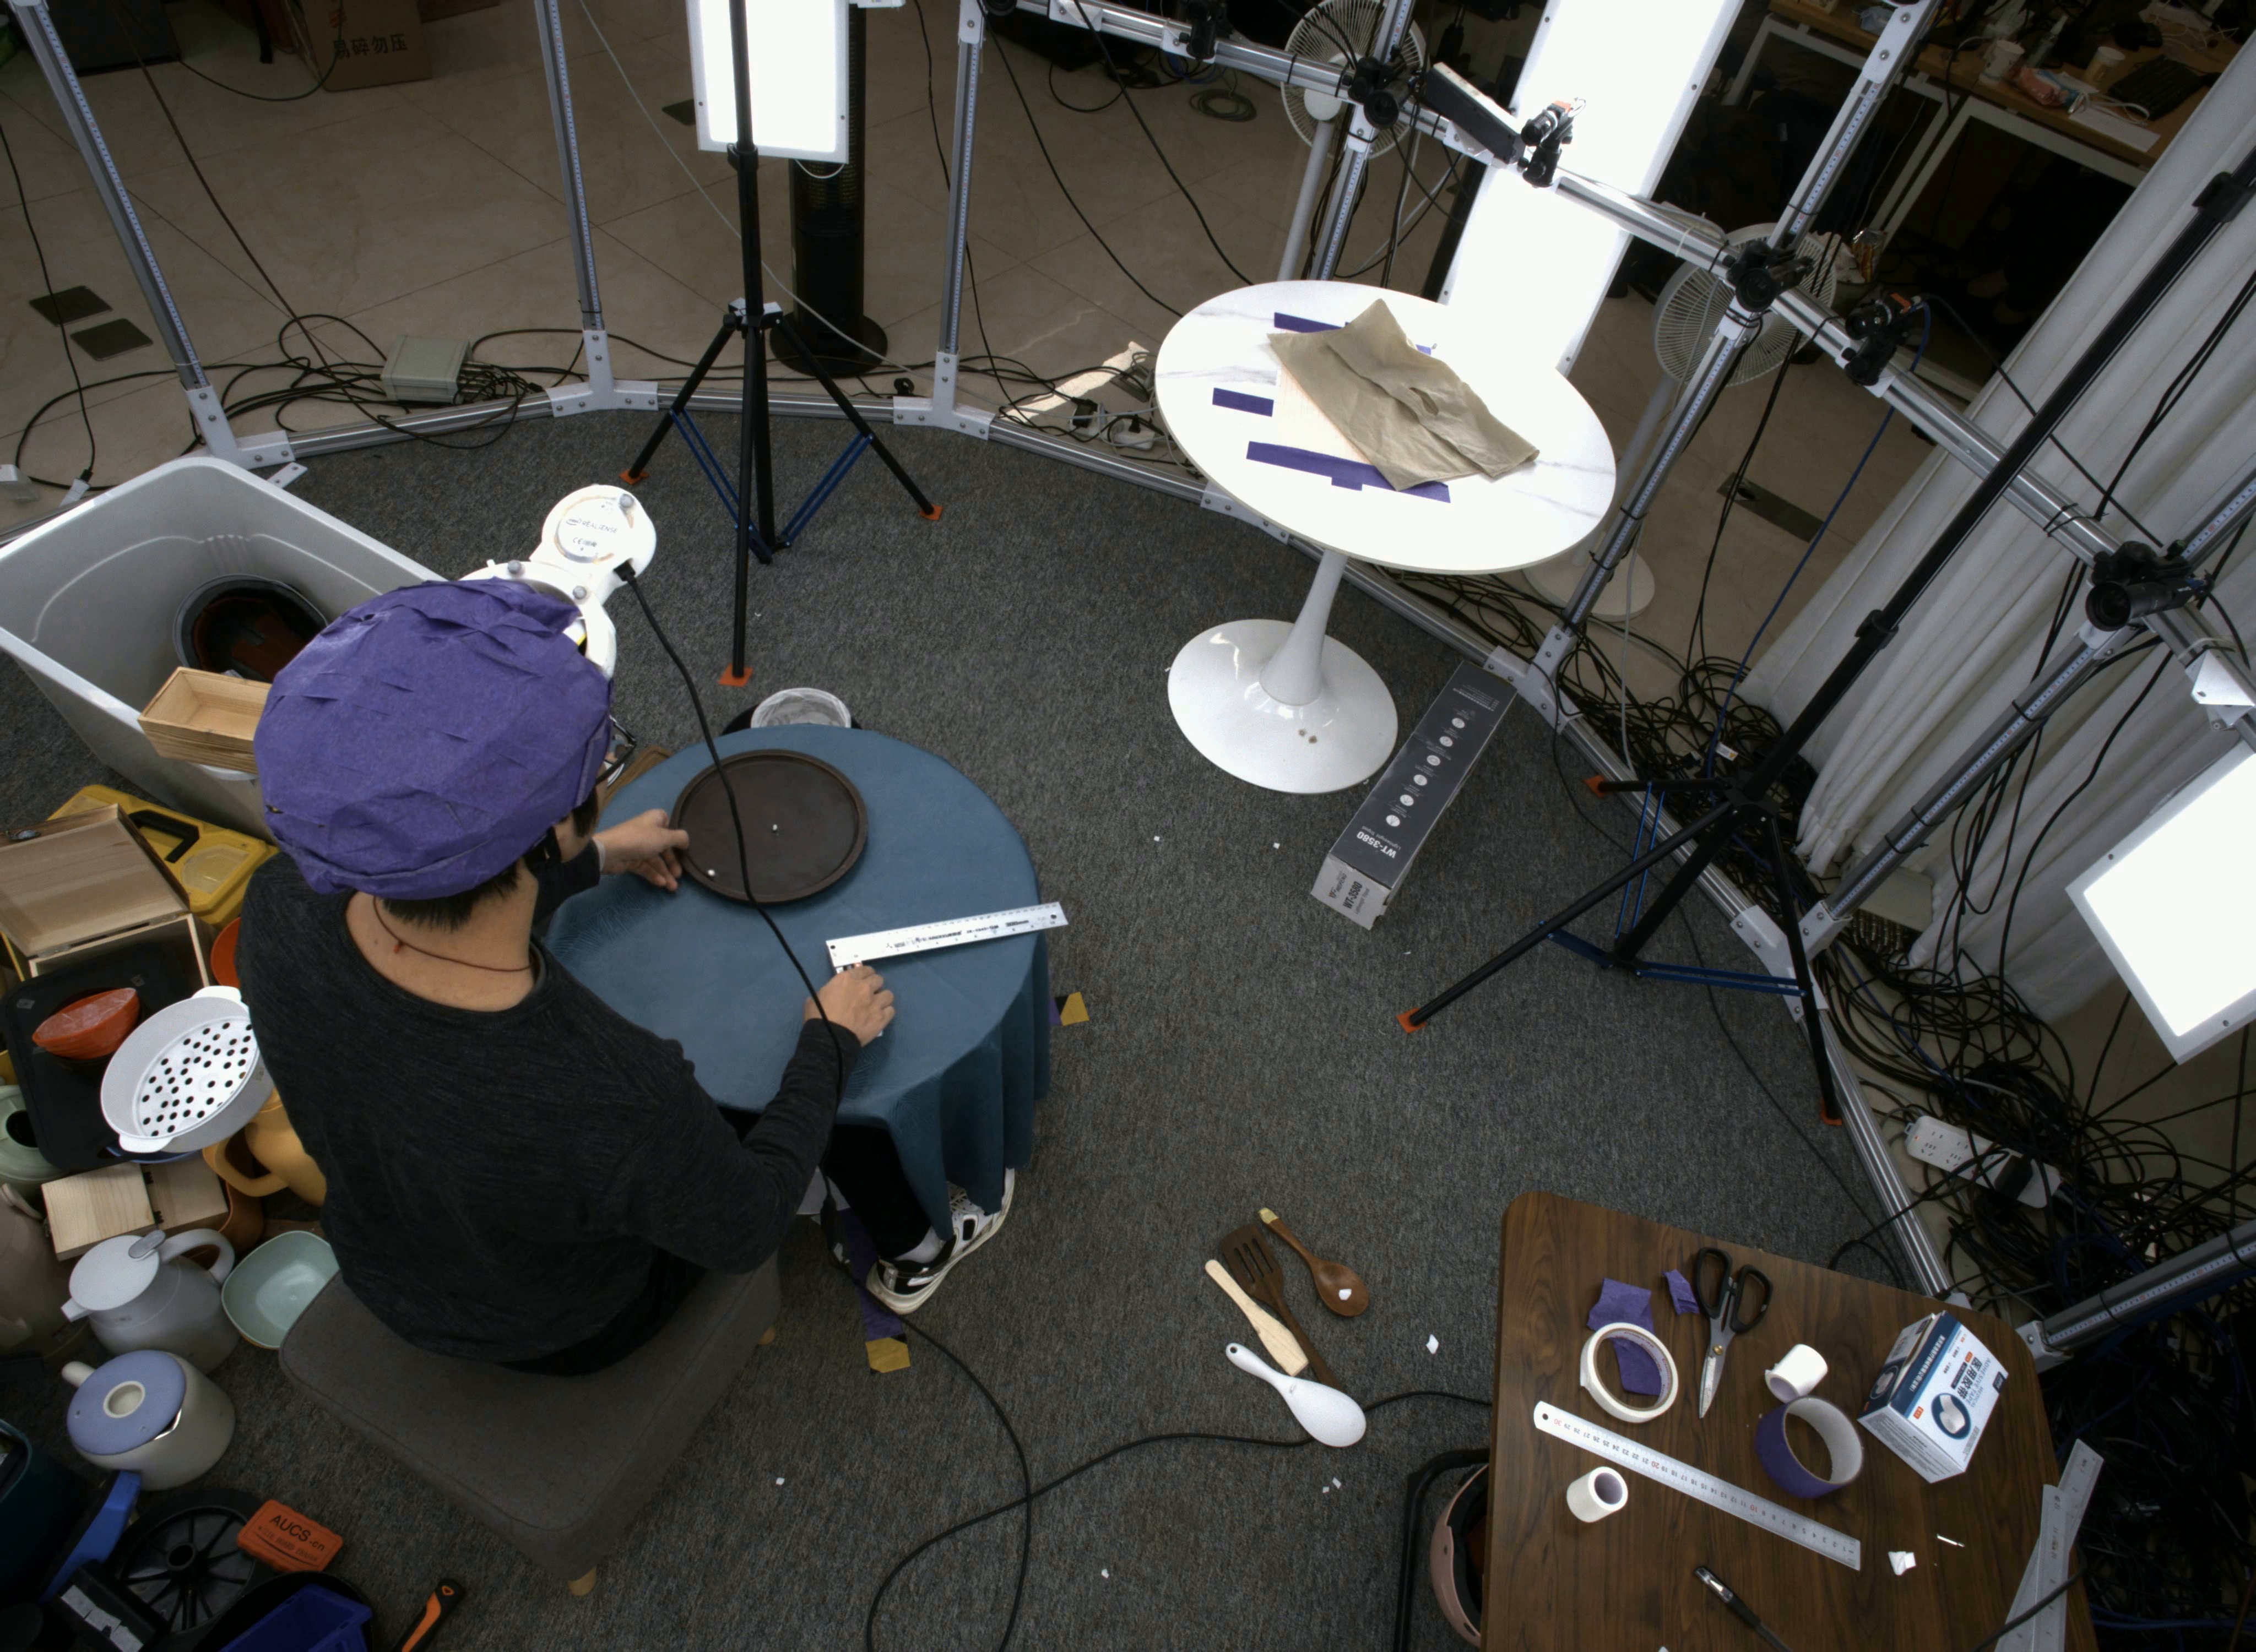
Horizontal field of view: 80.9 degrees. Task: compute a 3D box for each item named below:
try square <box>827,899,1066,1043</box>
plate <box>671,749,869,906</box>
[{"bbox_3d":[-0.209,0.173,1.629,0.315,0.016,0.148,-9,52,-24],"label":"try square"},{"bbox_3d":[-0.467,-0.002,1.694,0.254,0.029,0.250,9,52,-10],"label":"plate"}]
